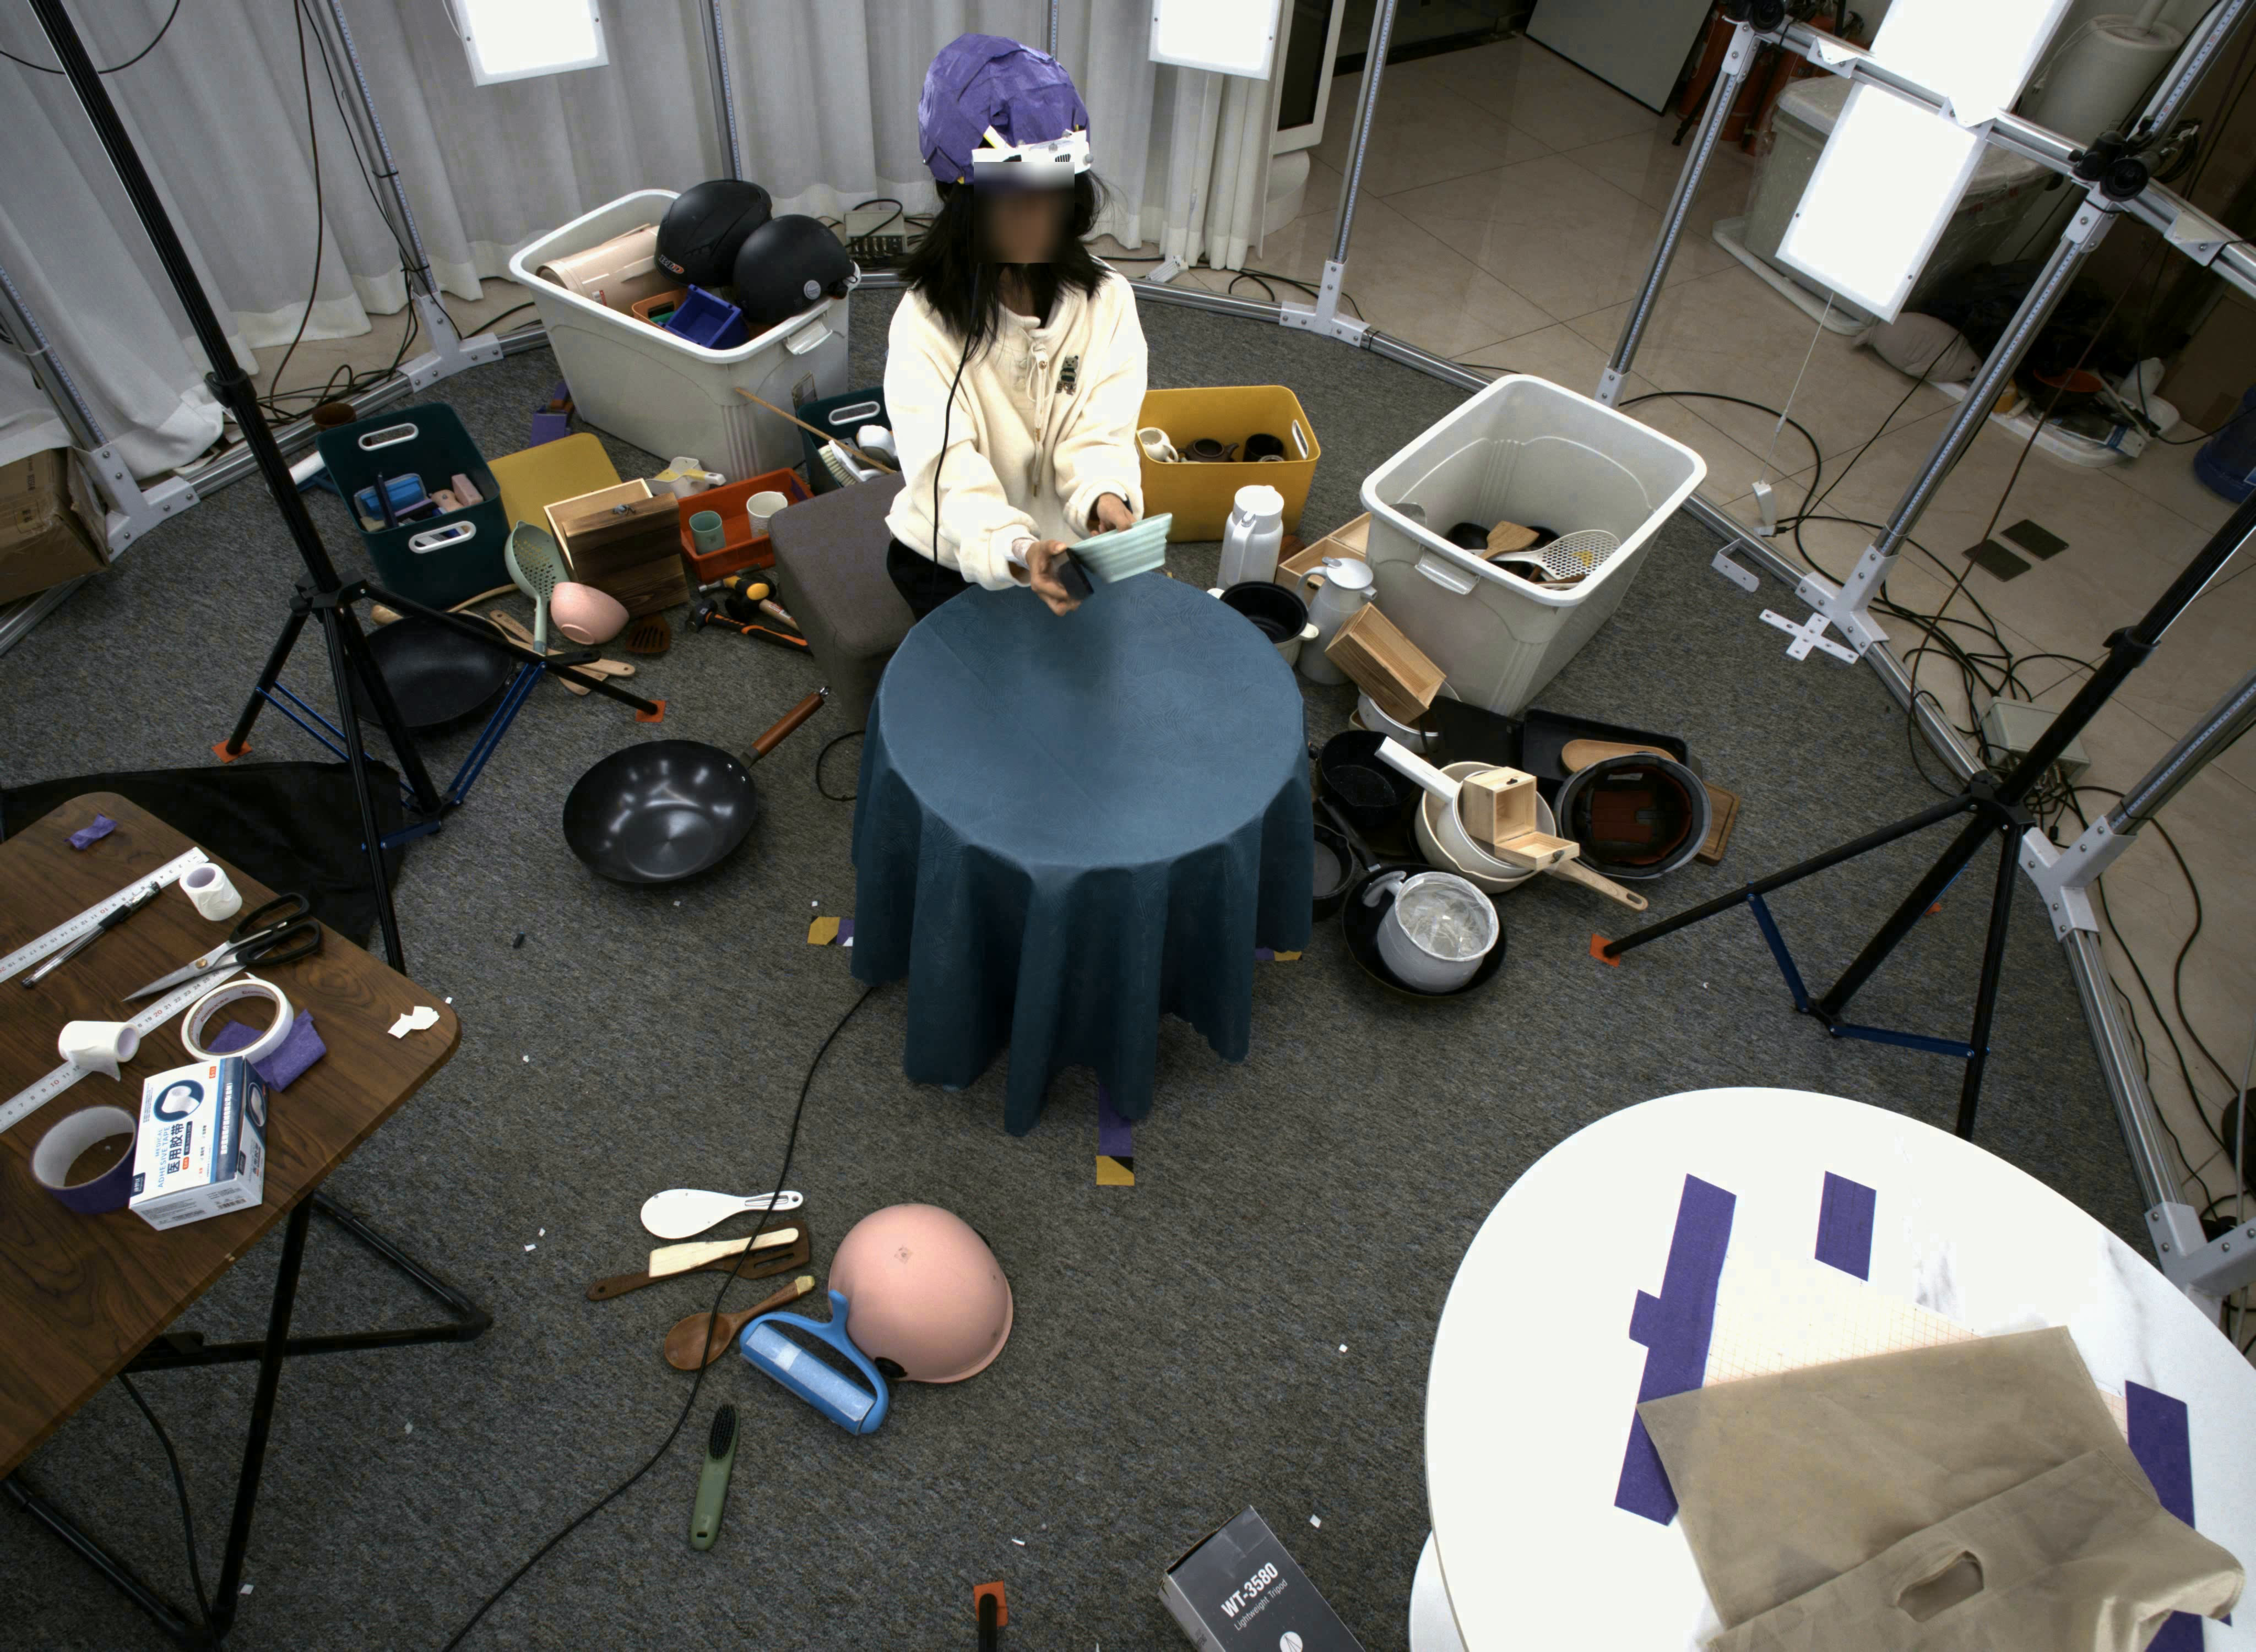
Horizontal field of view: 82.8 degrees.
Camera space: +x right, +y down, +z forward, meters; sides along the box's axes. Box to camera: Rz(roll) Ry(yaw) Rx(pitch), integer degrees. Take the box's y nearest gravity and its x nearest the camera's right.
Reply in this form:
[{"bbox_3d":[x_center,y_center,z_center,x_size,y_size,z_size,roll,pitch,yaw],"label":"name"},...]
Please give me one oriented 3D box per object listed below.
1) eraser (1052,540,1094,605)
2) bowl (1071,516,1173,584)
[{"bbox_3d":[-0.068,-0.317,1.599,0.030,0.053,0.128,-34,20,13],"label":"eraser"},{"bbox_3d":[-0.003,-0.352,1.656,0.151,0.058,0.153,-15,16,4],"label":"bowl"}]
